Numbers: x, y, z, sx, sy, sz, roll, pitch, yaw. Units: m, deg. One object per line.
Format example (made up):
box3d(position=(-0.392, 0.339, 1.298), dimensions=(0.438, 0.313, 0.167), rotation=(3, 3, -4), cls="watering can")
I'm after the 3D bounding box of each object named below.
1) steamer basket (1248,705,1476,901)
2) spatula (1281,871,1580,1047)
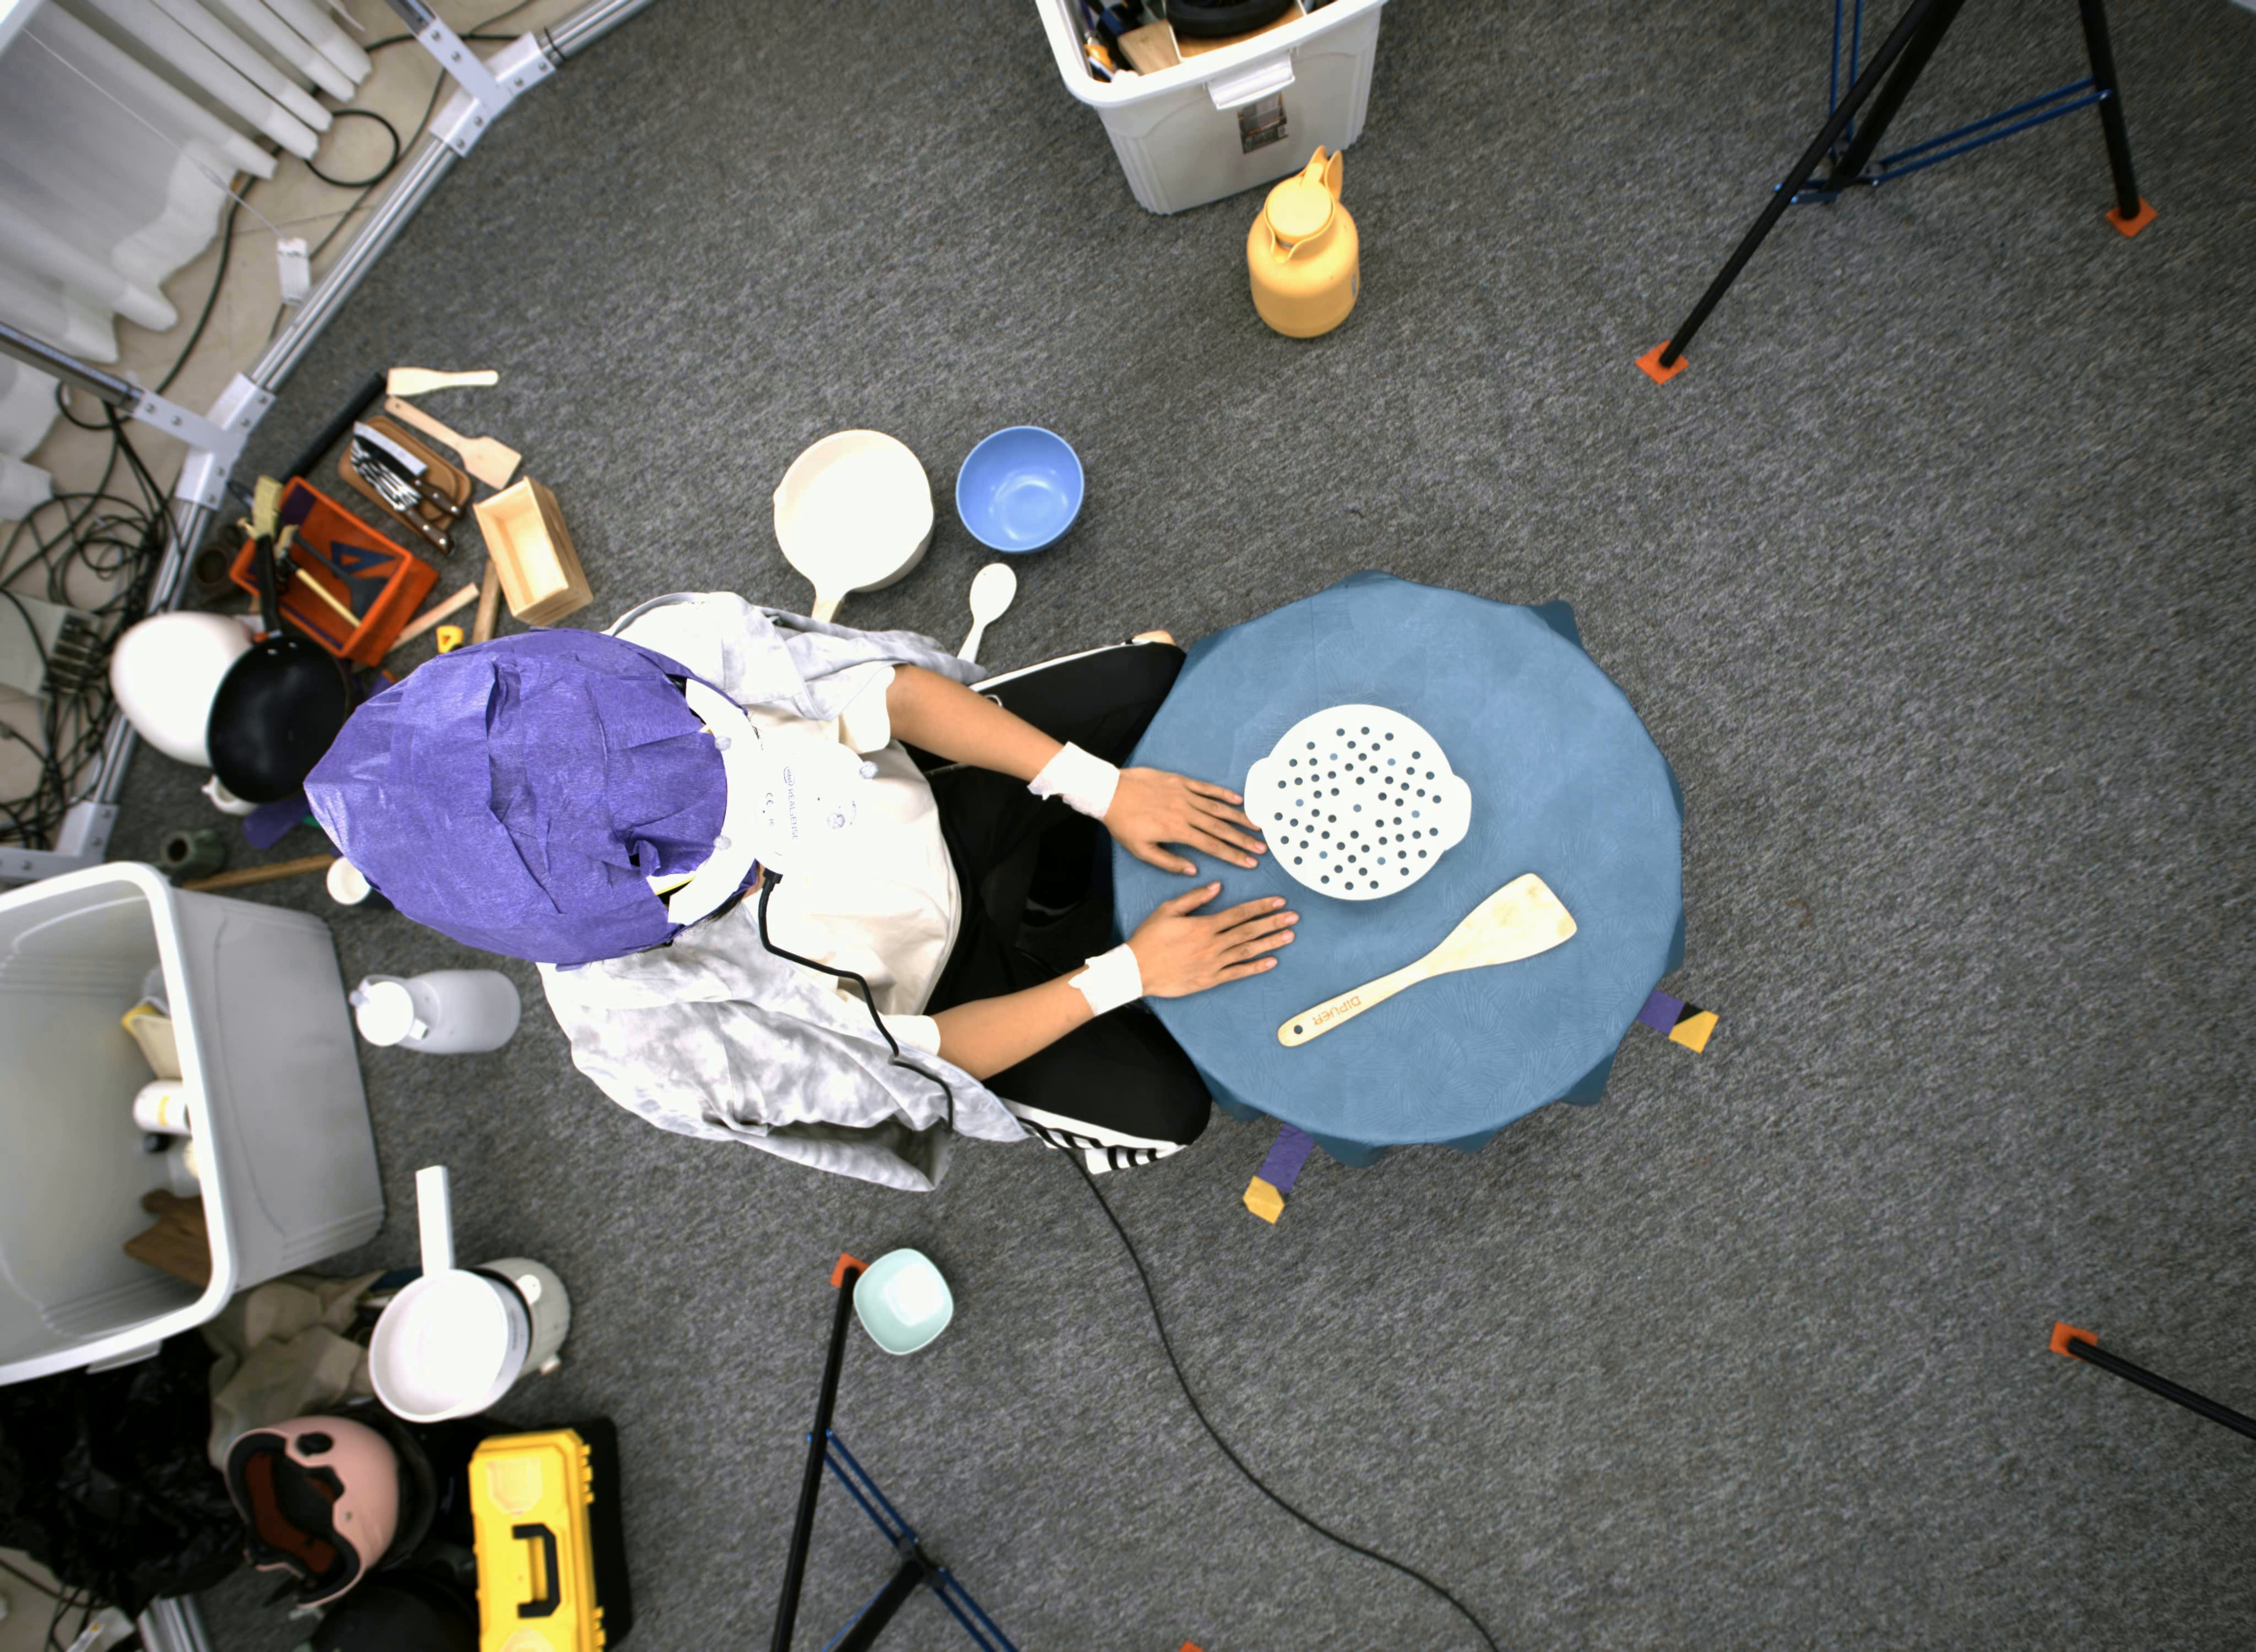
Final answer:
box3d(position=(0.242, -0.023, 1.435), dimensions=(0.231, 0.069, 0.201), rotation=(6, 86, 12), cls="steamer basket")
box3d(position=(0.306, 0.147, 1.438), dimensions=(0.329, 0.016, 0.079), rotation=(-28, 81, 8), cls="spatula")
